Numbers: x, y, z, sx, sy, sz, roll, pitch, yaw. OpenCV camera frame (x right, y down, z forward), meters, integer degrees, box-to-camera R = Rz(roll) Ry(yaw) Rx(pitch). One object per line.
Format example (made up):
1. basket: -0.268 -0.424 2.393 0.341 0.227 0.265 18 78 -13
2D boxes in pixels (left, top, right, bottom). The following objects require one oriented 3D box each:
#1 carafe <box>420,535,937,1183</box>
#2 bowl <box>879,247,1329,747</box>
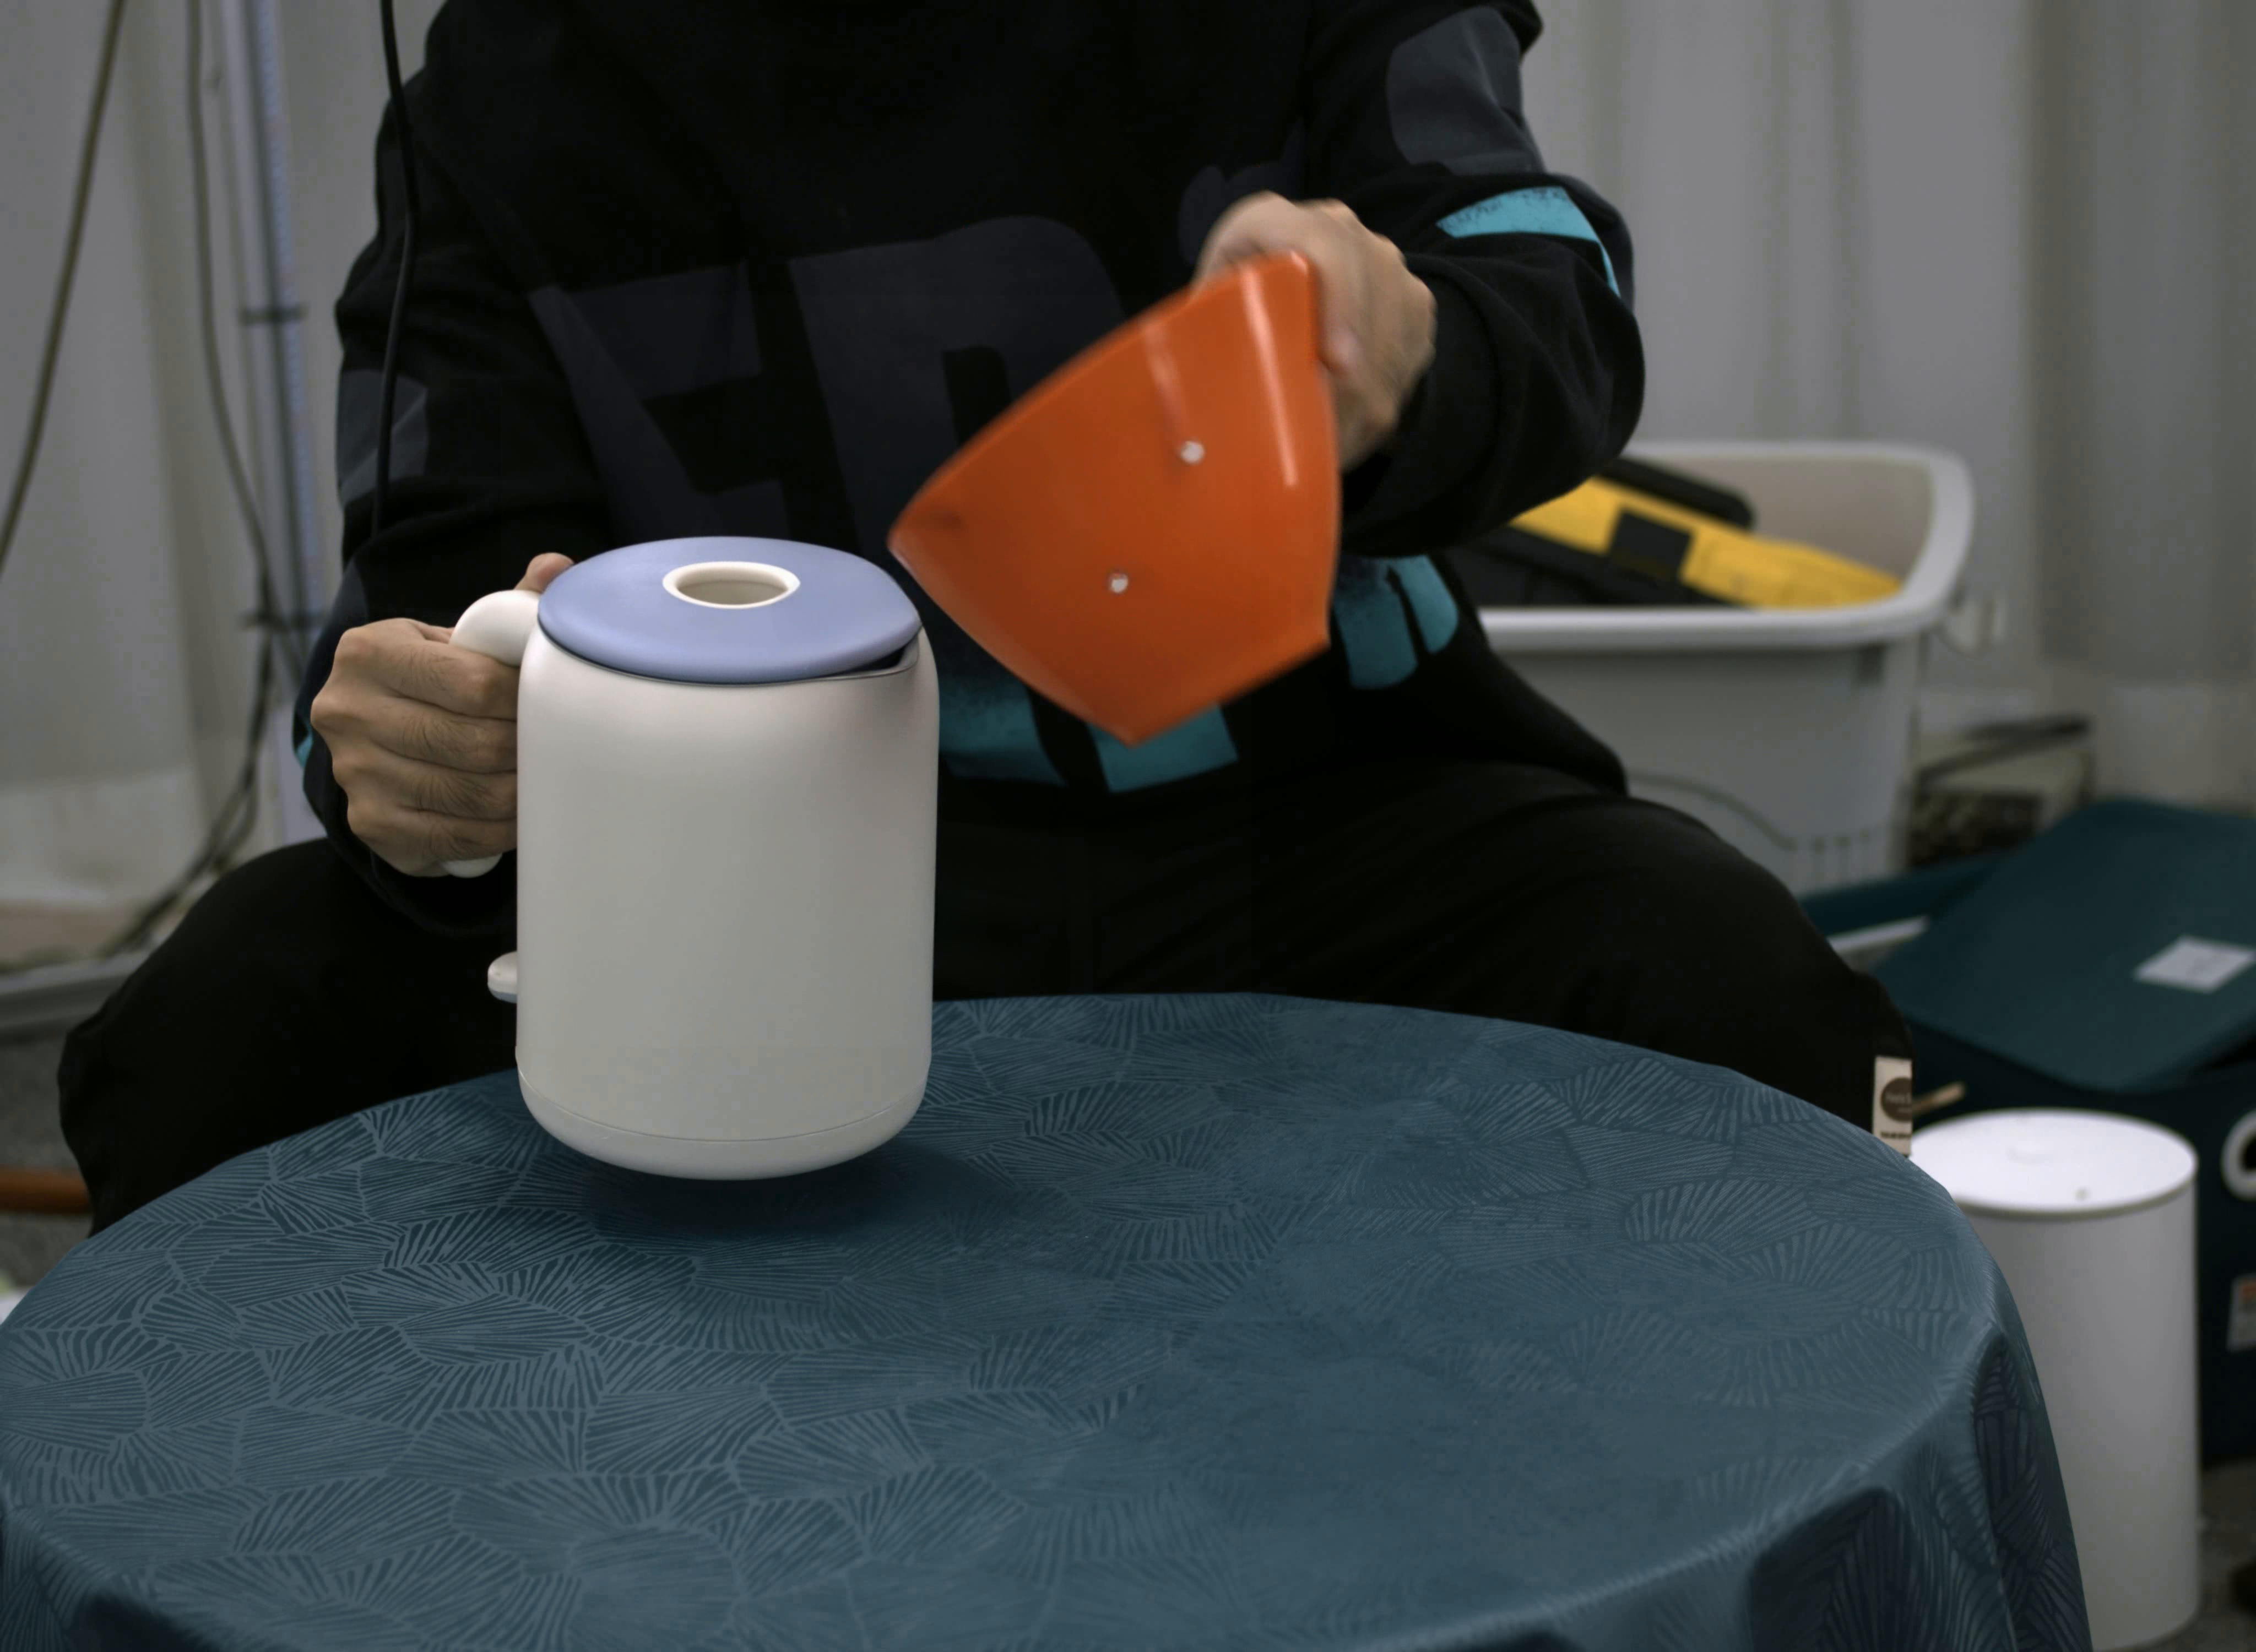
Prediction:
1. carafe: -0.146 0.004 1.719 0.192 0.181 0.132 12 22 31
2. bowl: 0.008 -0.087 1.588 0.148 0.105 0.148 -29 -1 -1
